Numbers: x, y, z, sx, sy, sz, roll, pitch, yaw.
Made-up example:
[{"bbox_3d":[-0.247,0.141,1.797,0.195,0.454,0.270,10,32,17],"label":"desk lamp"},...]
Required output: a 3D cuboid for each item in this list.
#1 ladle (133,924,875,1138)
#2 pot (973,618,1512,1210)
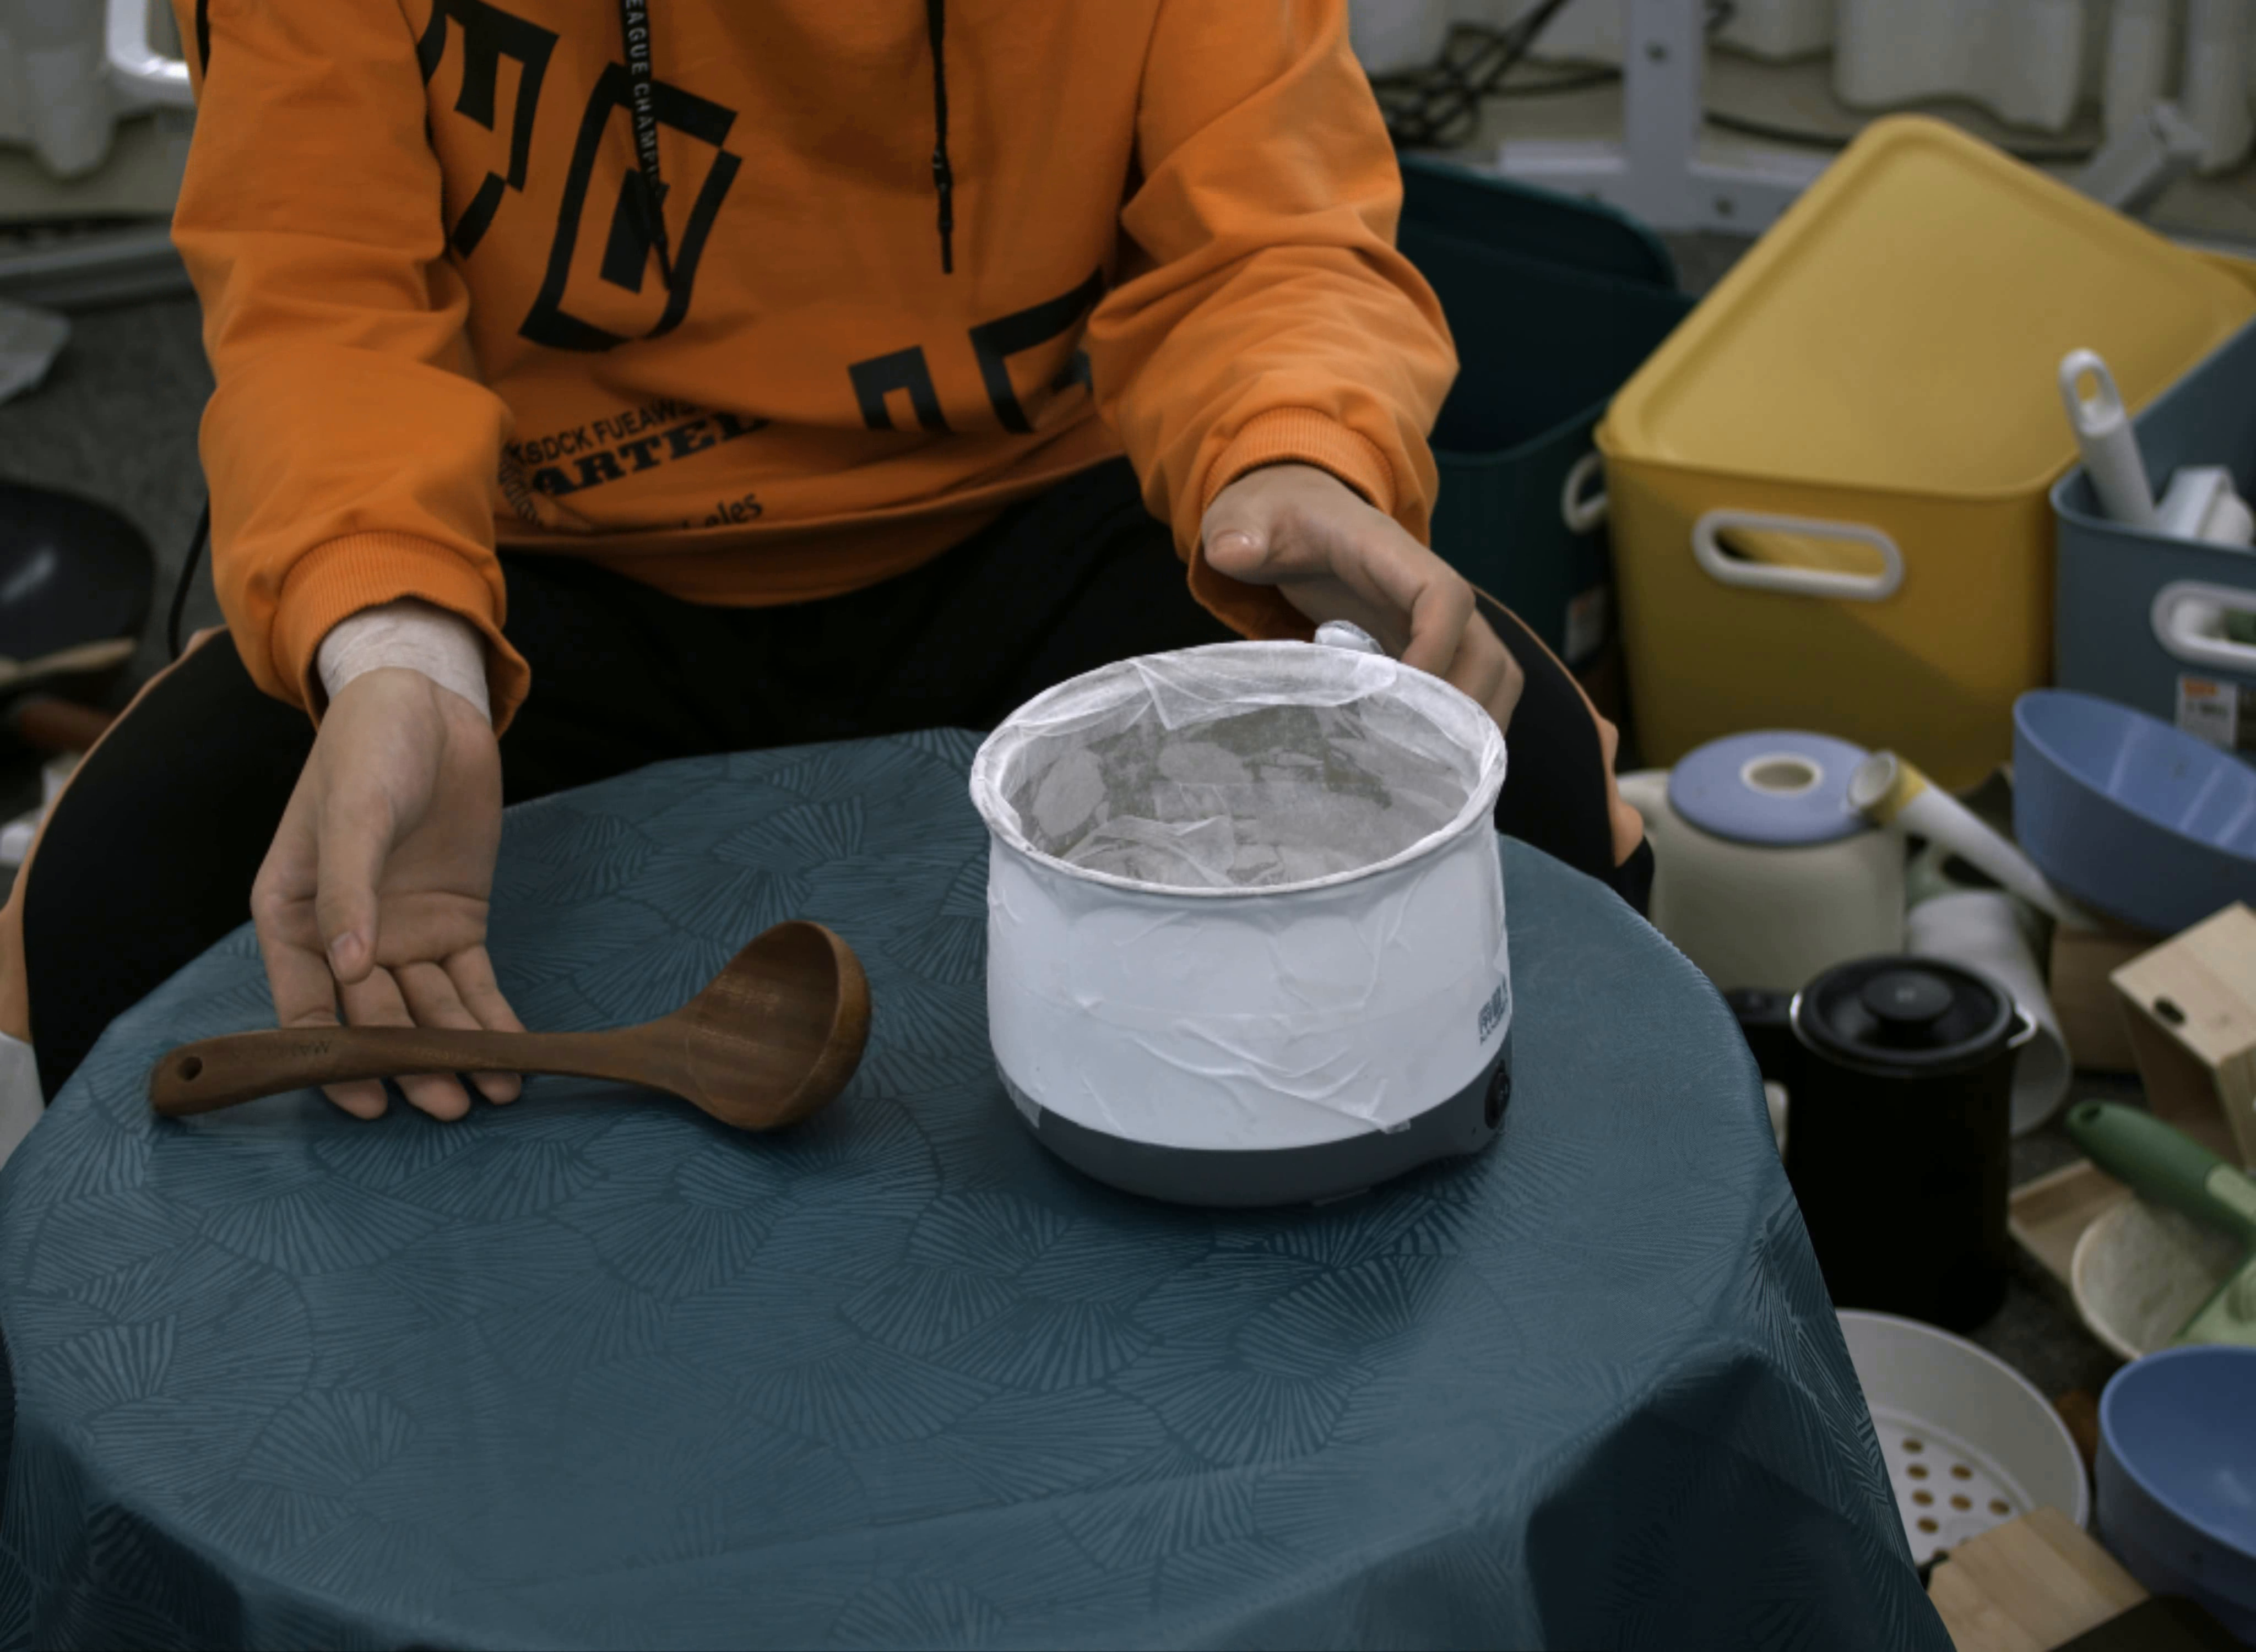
[{"bbox_3d":[-0.214,0.074,1.911,0.259,0.064,0.078,-1,53,2],"label":"ladle"},{"bbox_3d":[0.049,0.022,1.902,0.177,0.135,0.238,7,29,18],"label":"pot"}]
